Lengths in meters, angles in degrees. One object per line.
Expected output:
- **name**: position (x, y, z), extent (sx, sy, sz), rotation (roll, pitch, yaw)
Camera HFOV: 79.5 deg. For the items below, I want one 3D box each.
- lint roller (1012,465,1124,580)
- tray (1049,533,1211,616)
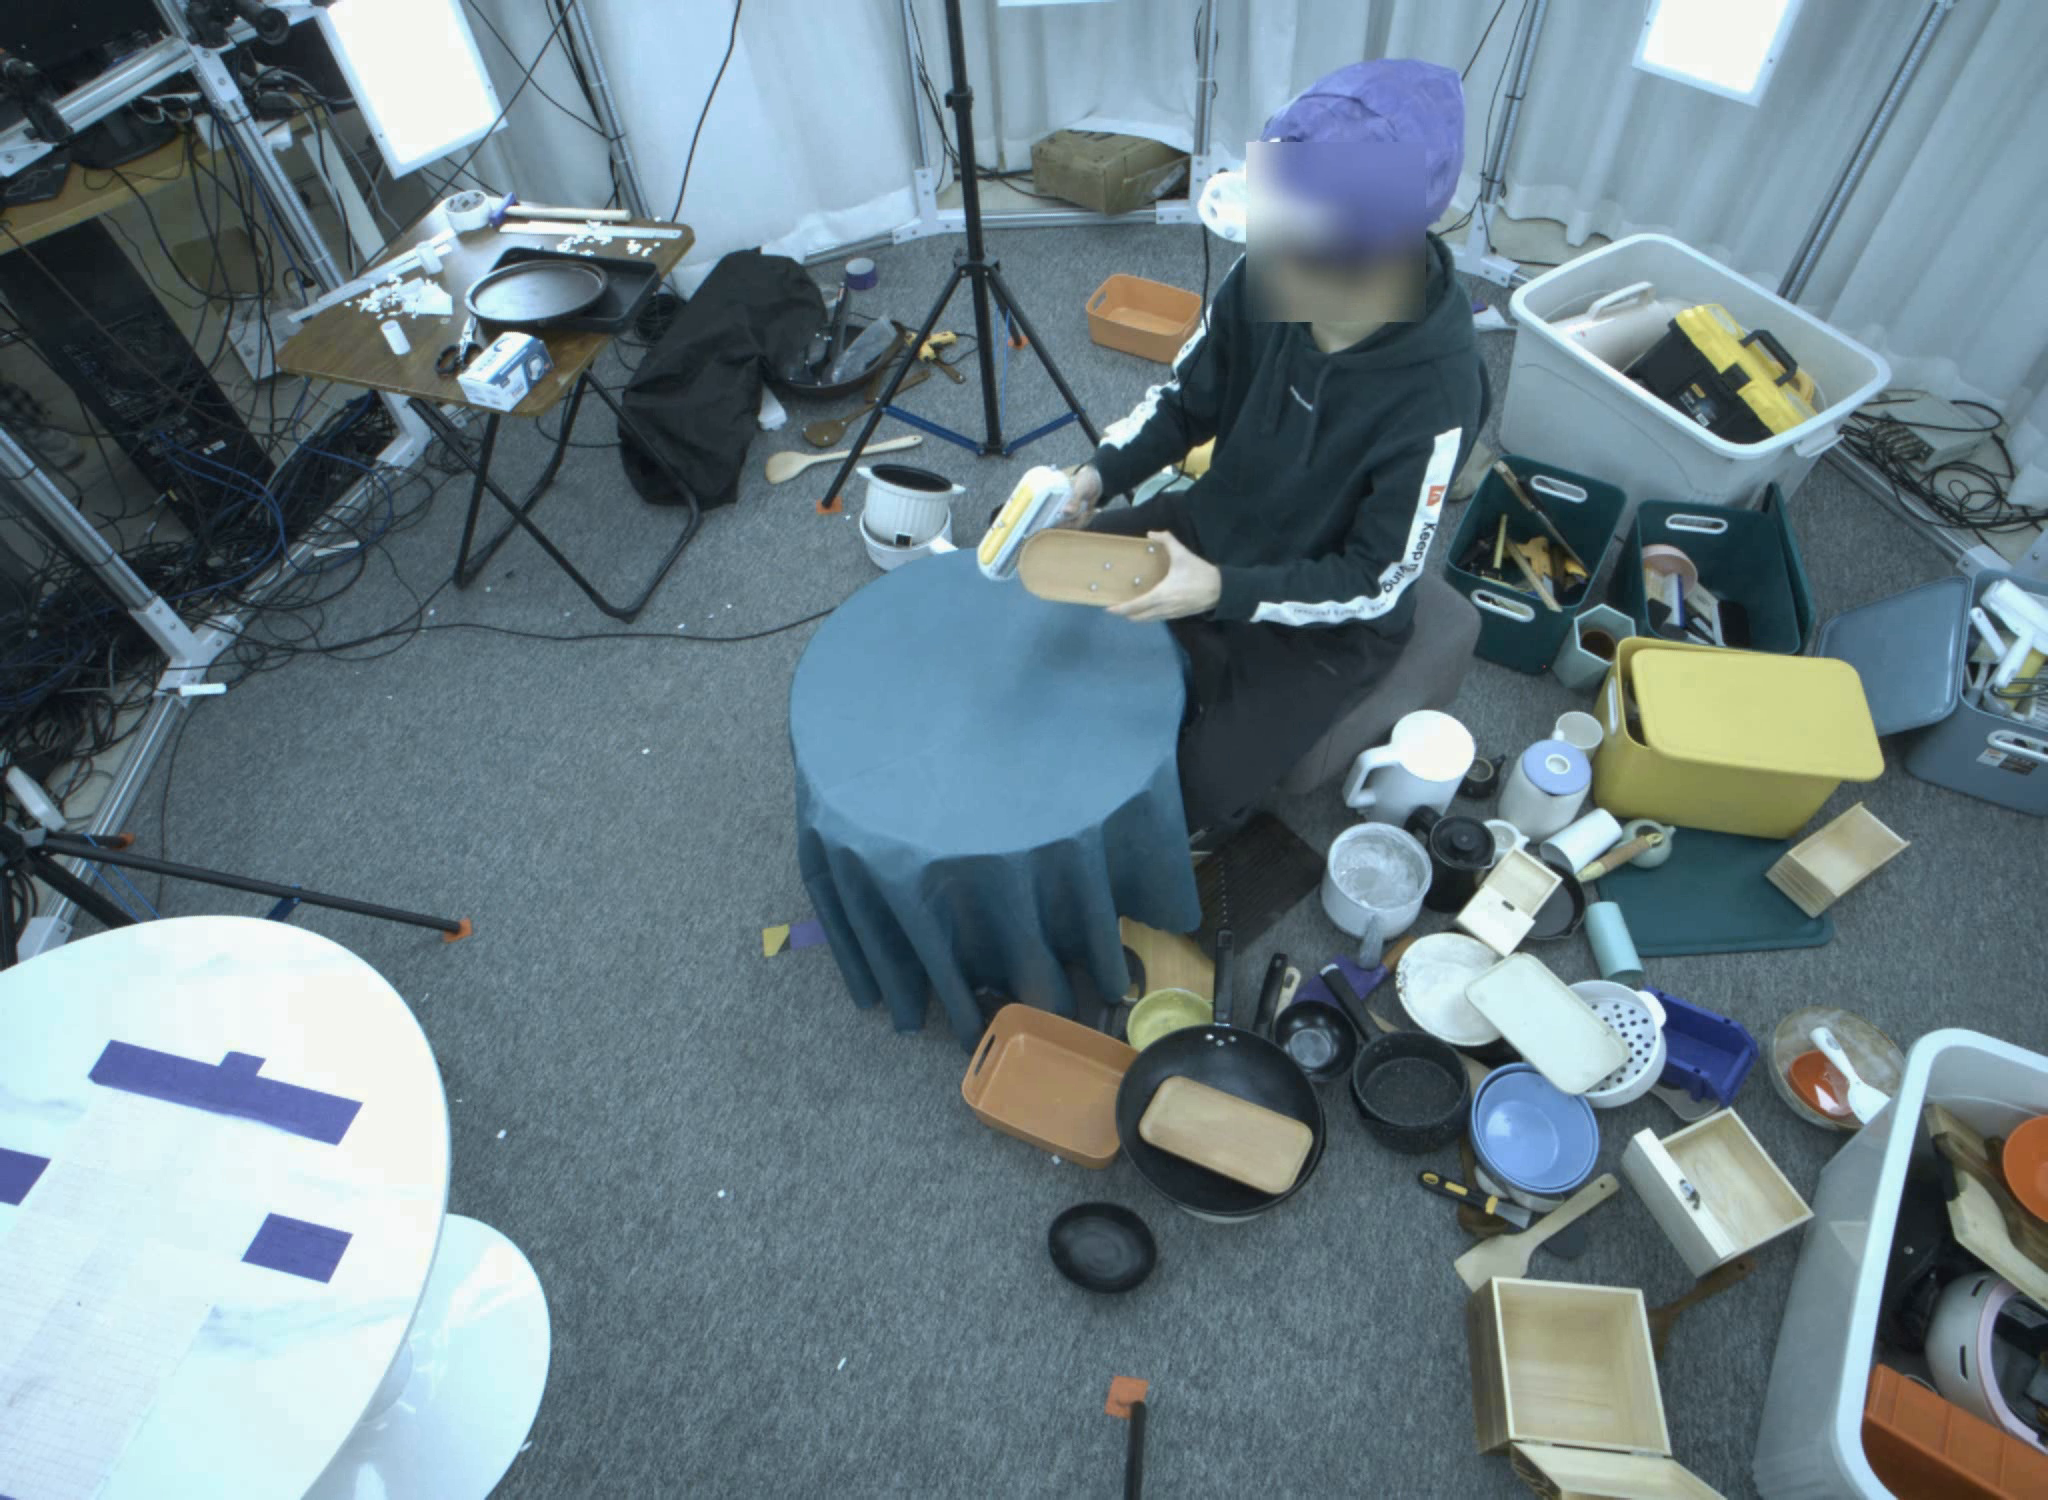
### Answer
- **lint roller**: position (0.086, -0.327, 1.752), extent (0.196, 0.192, 0.073), rotation (-9, 54, -46)
- **tray**: position (0.148, -0.245, 1.722), extent (0.233, 0.102, 0.020), rotation (5, 11, -9)
